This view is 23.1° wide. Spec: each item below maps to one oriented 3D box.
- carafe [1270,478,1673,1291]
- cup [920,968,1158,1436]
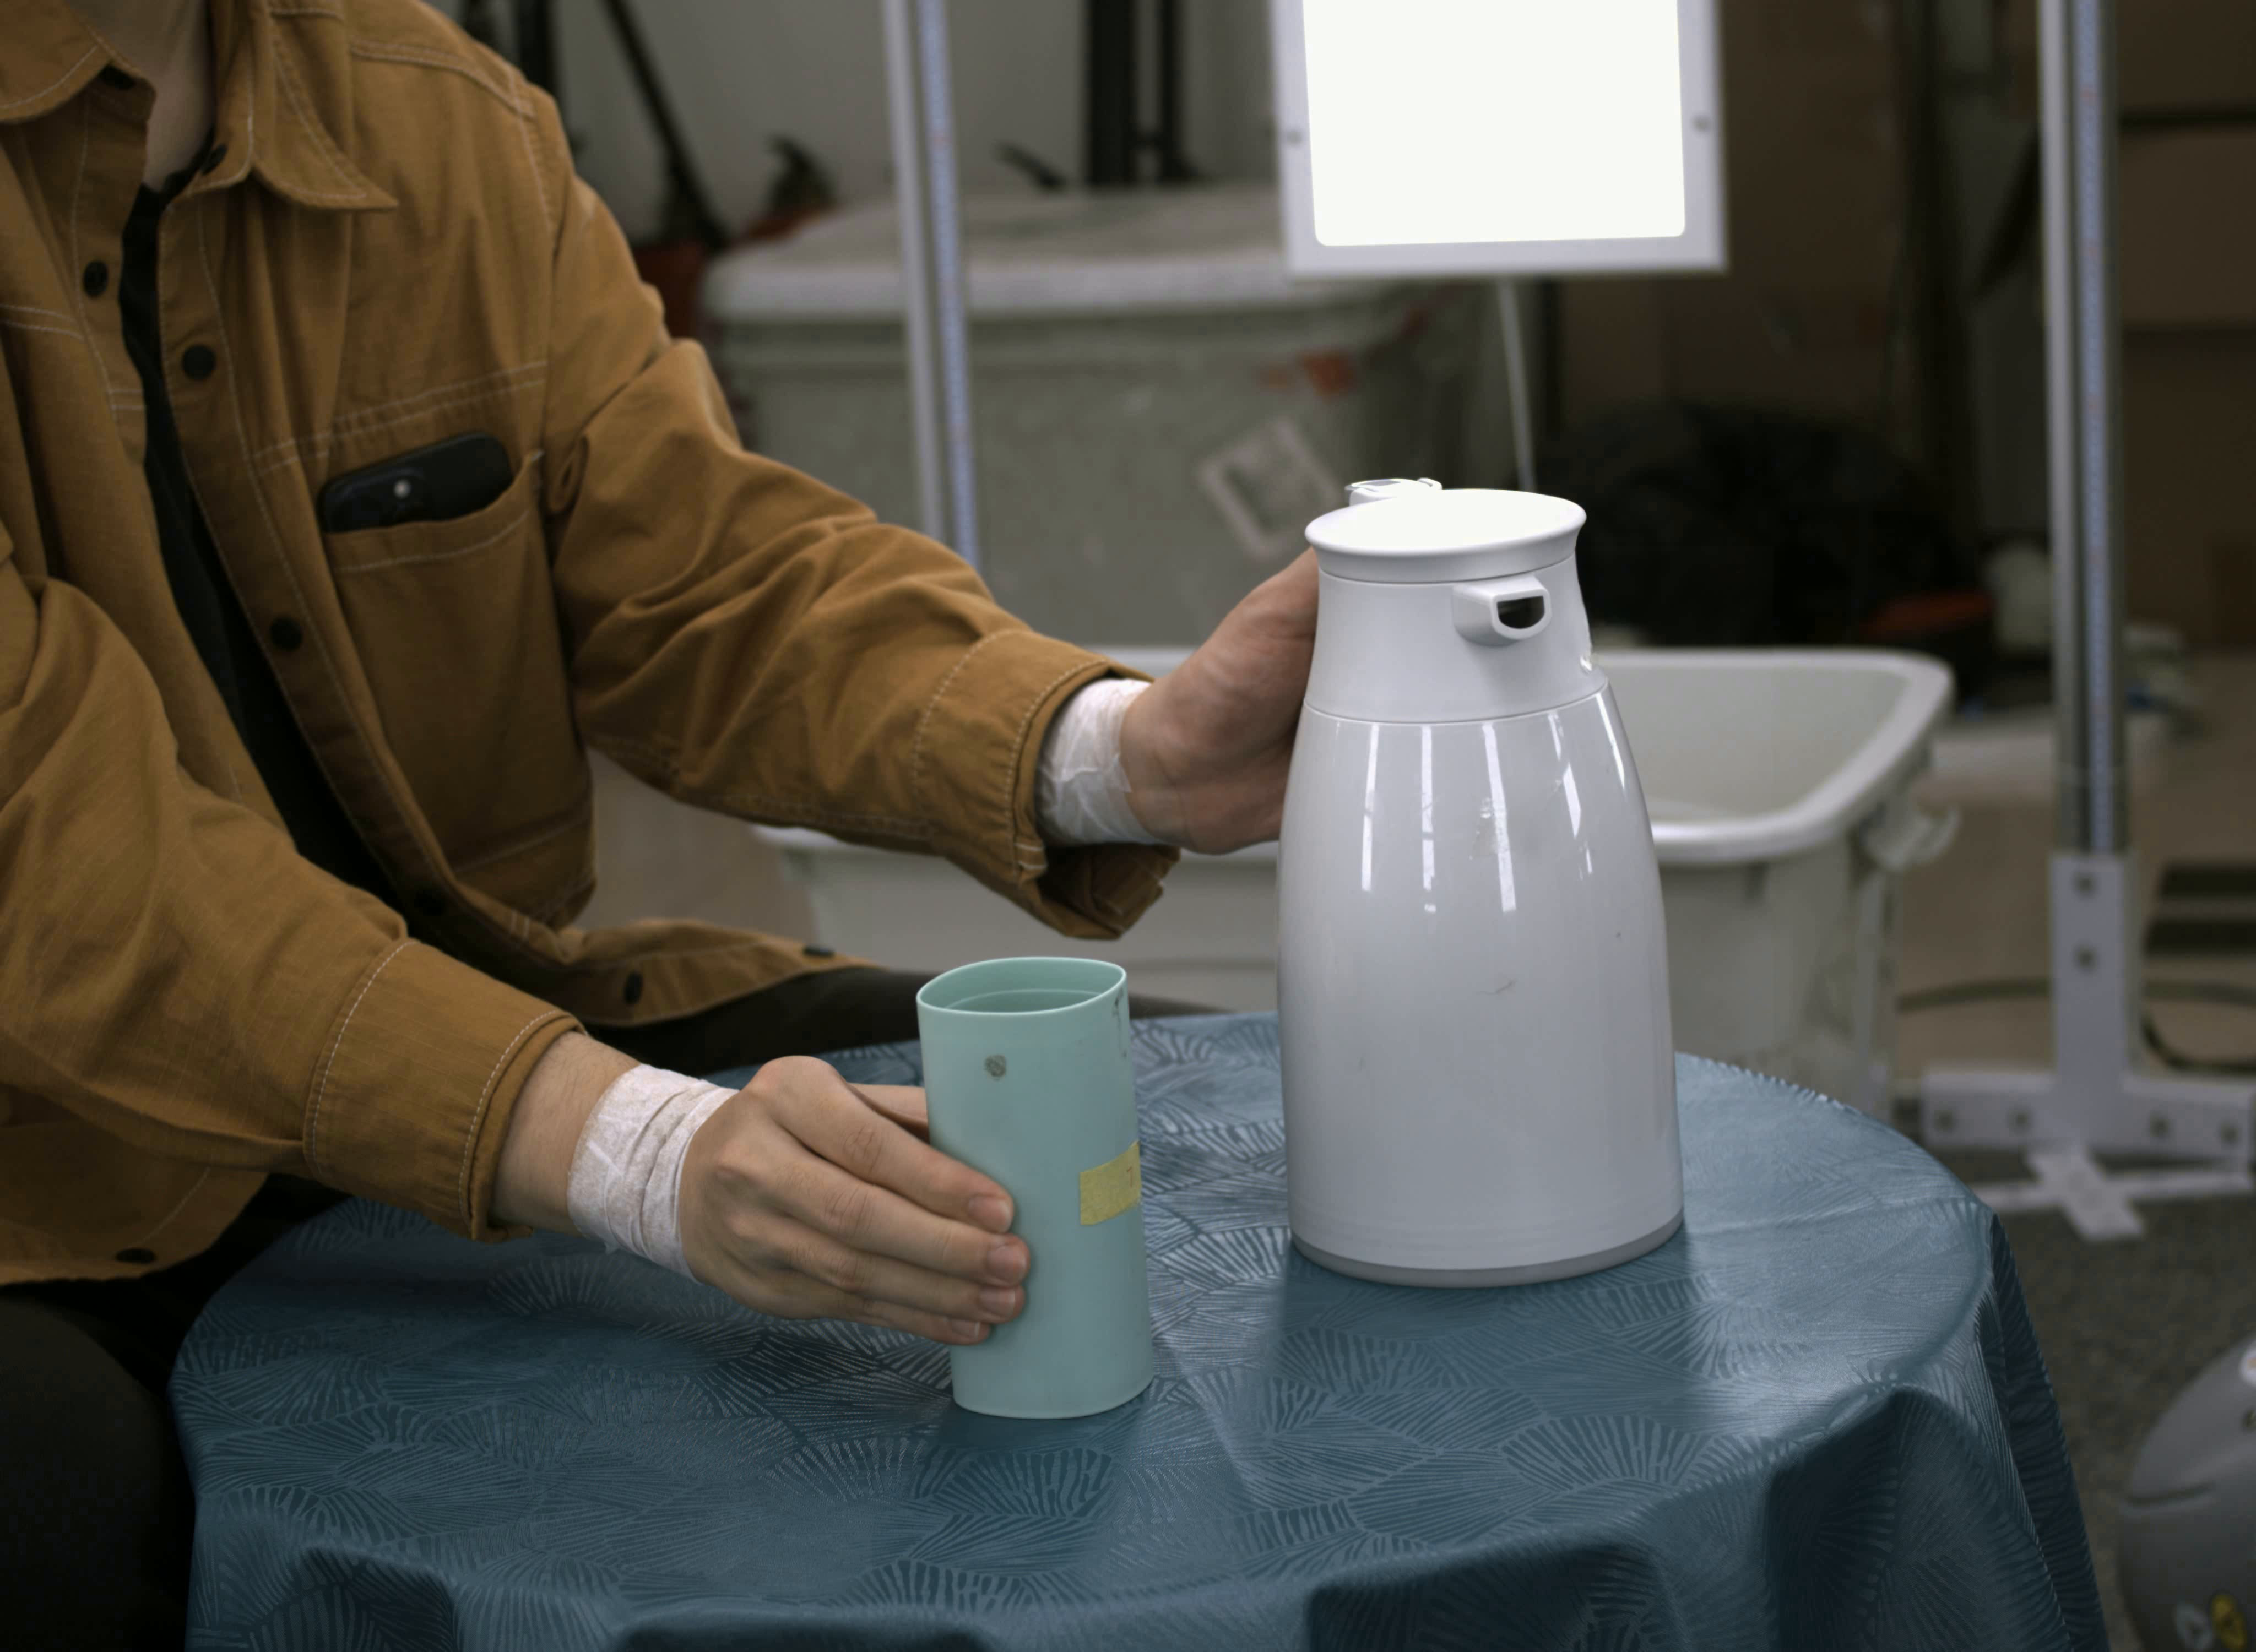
[{"bbox_3d":[0.103,0.011,1.818,0.130,0.249,0.169,-7,13,-16],"label":"carafe"},{"bbox_3d":[-0.028,0.115,1.699,0.066,0.133,0.066,-4,14,0],"label":"cup"}]
